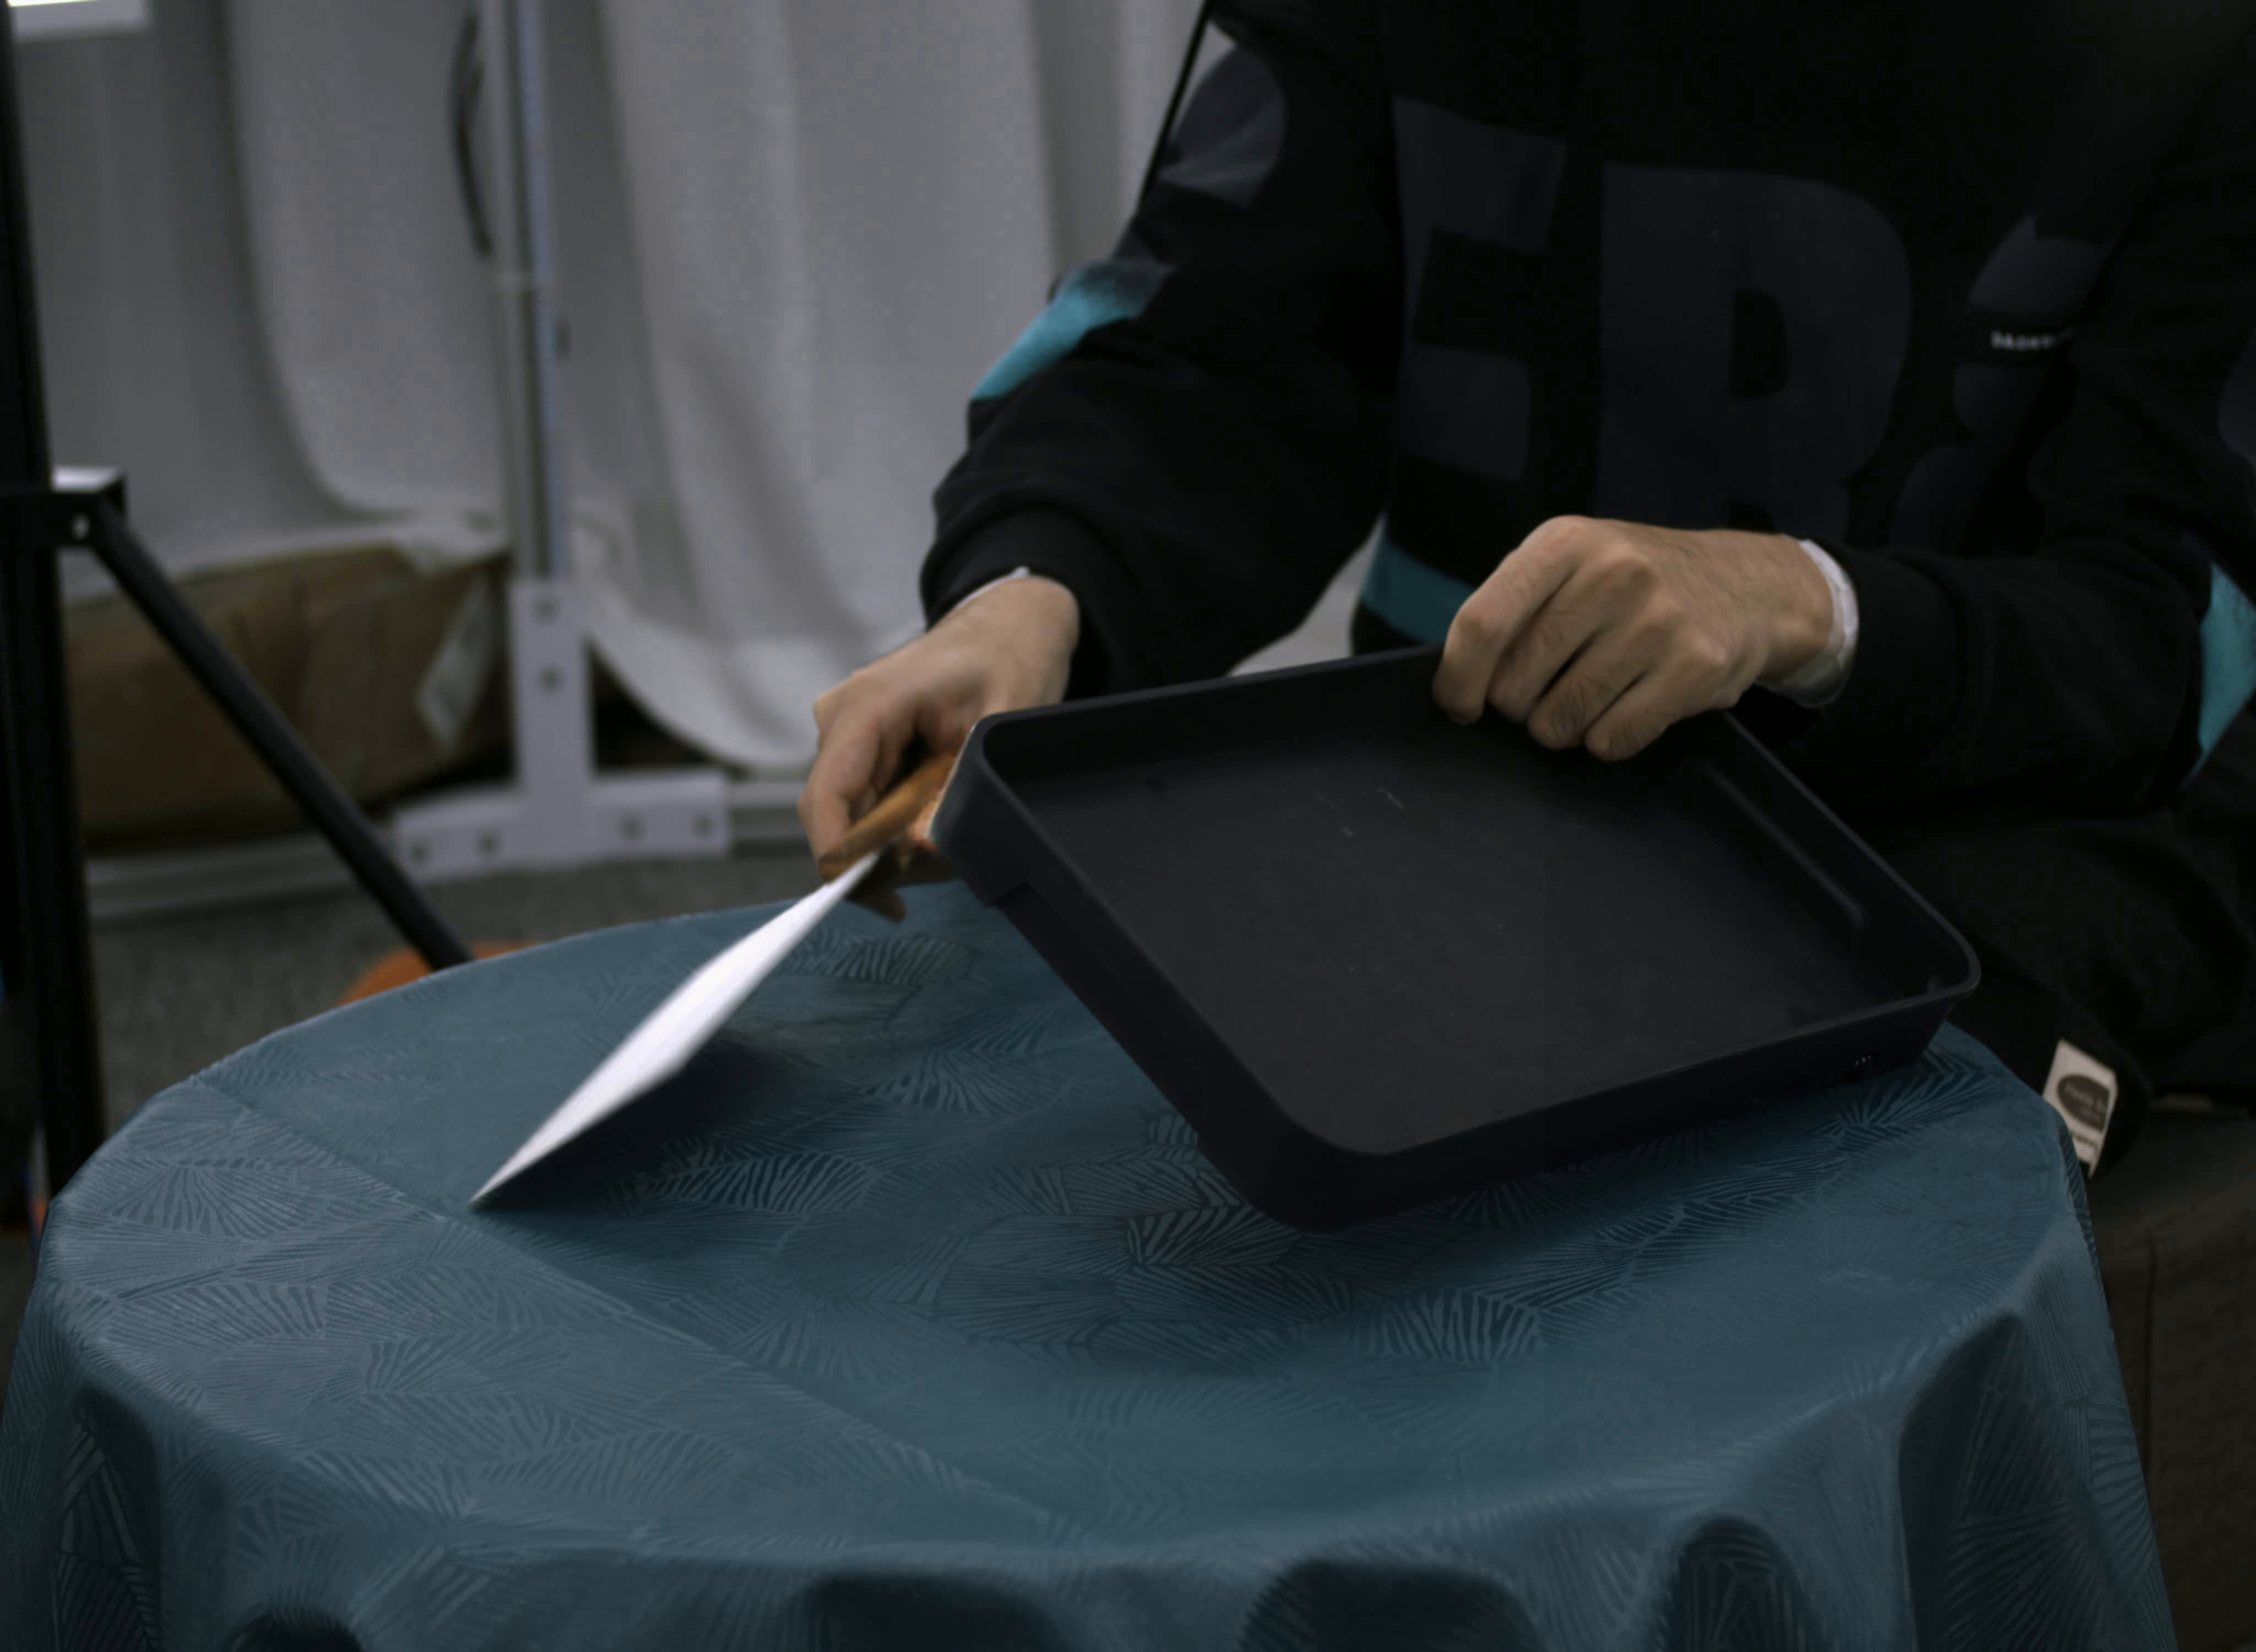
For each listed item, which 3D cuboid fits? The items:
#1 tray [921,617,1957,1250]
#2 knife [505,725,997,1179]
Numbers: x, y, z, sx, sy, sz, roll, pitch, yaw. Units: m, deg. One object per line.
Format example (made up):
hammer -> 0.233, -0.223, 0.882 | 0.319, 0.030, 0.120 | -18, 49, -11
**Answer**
tray -> 0.097, 0.025, 1.567 | 0.310, 0.037, 0.188 | -12, 49, -47
knife -> -0.118, 0.040, 1.687 | 0.094, 0.021, 0.303 | -27, 11, 25
